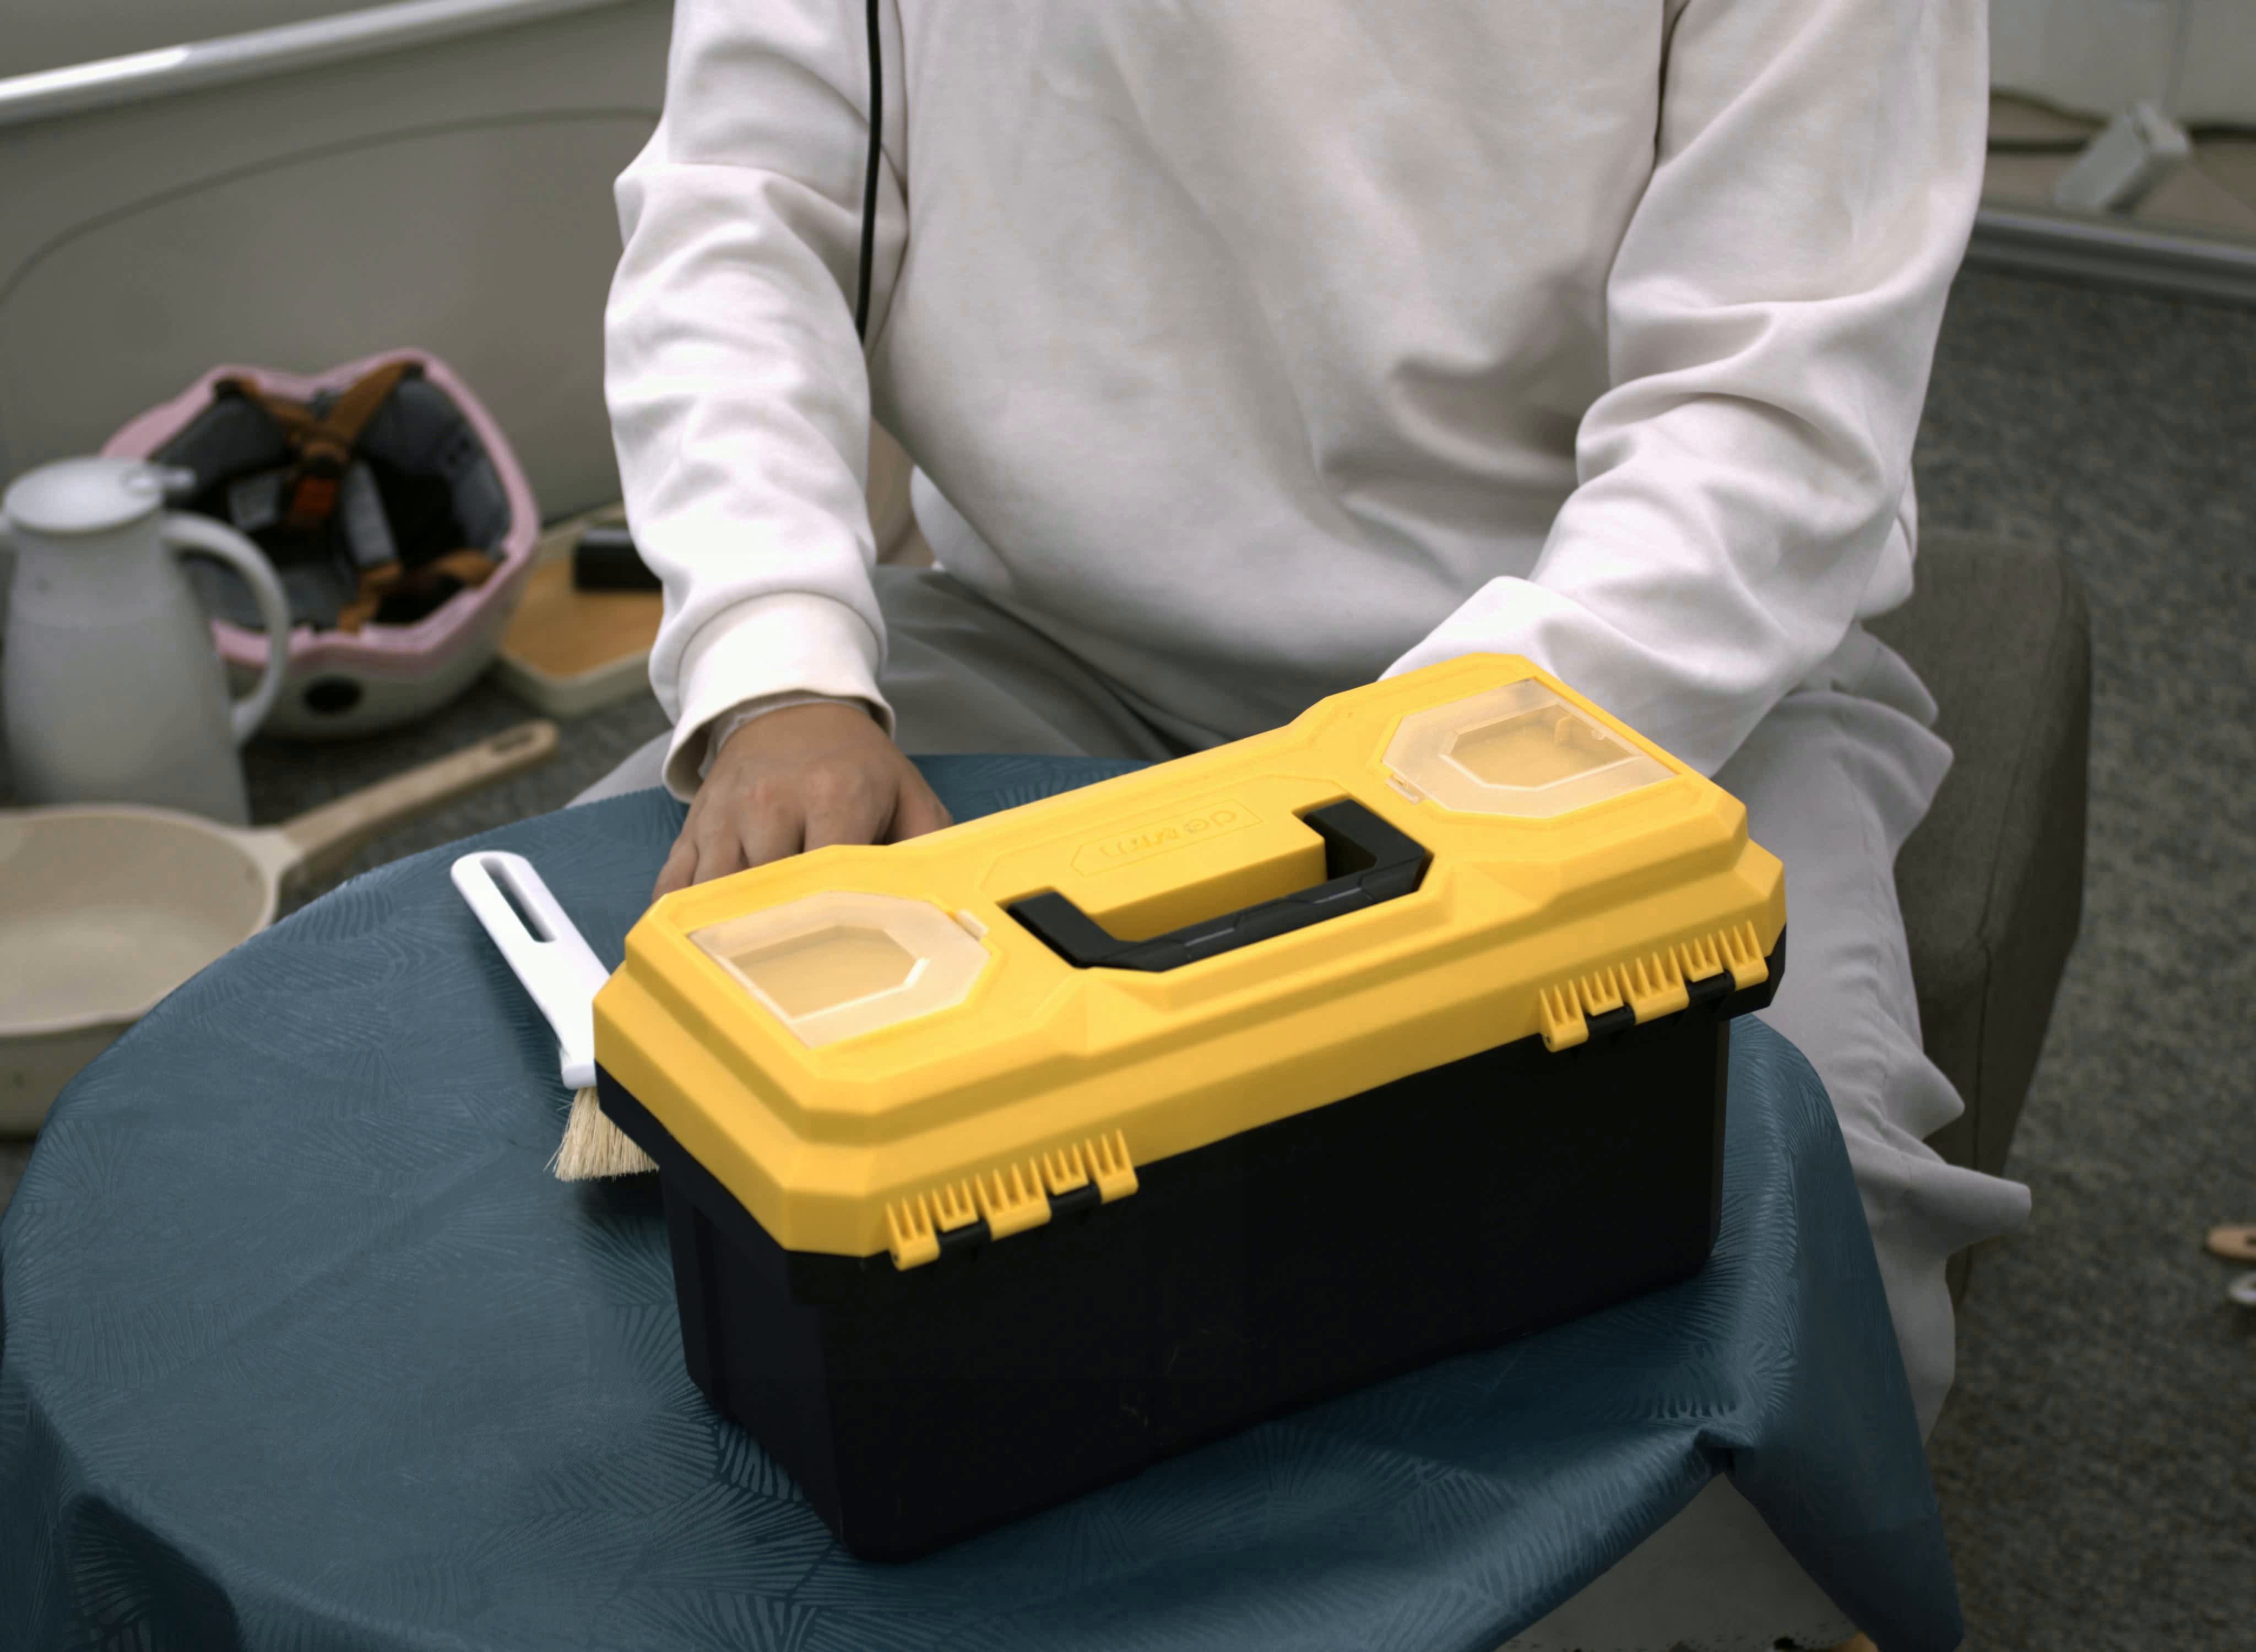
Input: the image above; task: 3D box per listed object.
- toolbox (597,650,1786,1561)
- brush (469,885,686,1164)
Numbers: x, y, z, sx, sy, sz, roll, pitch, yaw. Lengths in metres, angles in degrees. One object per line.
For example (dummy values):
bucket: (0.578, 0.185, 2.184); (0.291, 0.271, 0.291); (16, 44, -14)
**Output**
toolbox: (0.022, 0.082, 1.752); (0.353, 0.171, 0.182); (-16, 31, -26)
brush: (-0.188, 0.072, 1.963); (0.068, 0.056, 0.266); (8, 7, -23)
